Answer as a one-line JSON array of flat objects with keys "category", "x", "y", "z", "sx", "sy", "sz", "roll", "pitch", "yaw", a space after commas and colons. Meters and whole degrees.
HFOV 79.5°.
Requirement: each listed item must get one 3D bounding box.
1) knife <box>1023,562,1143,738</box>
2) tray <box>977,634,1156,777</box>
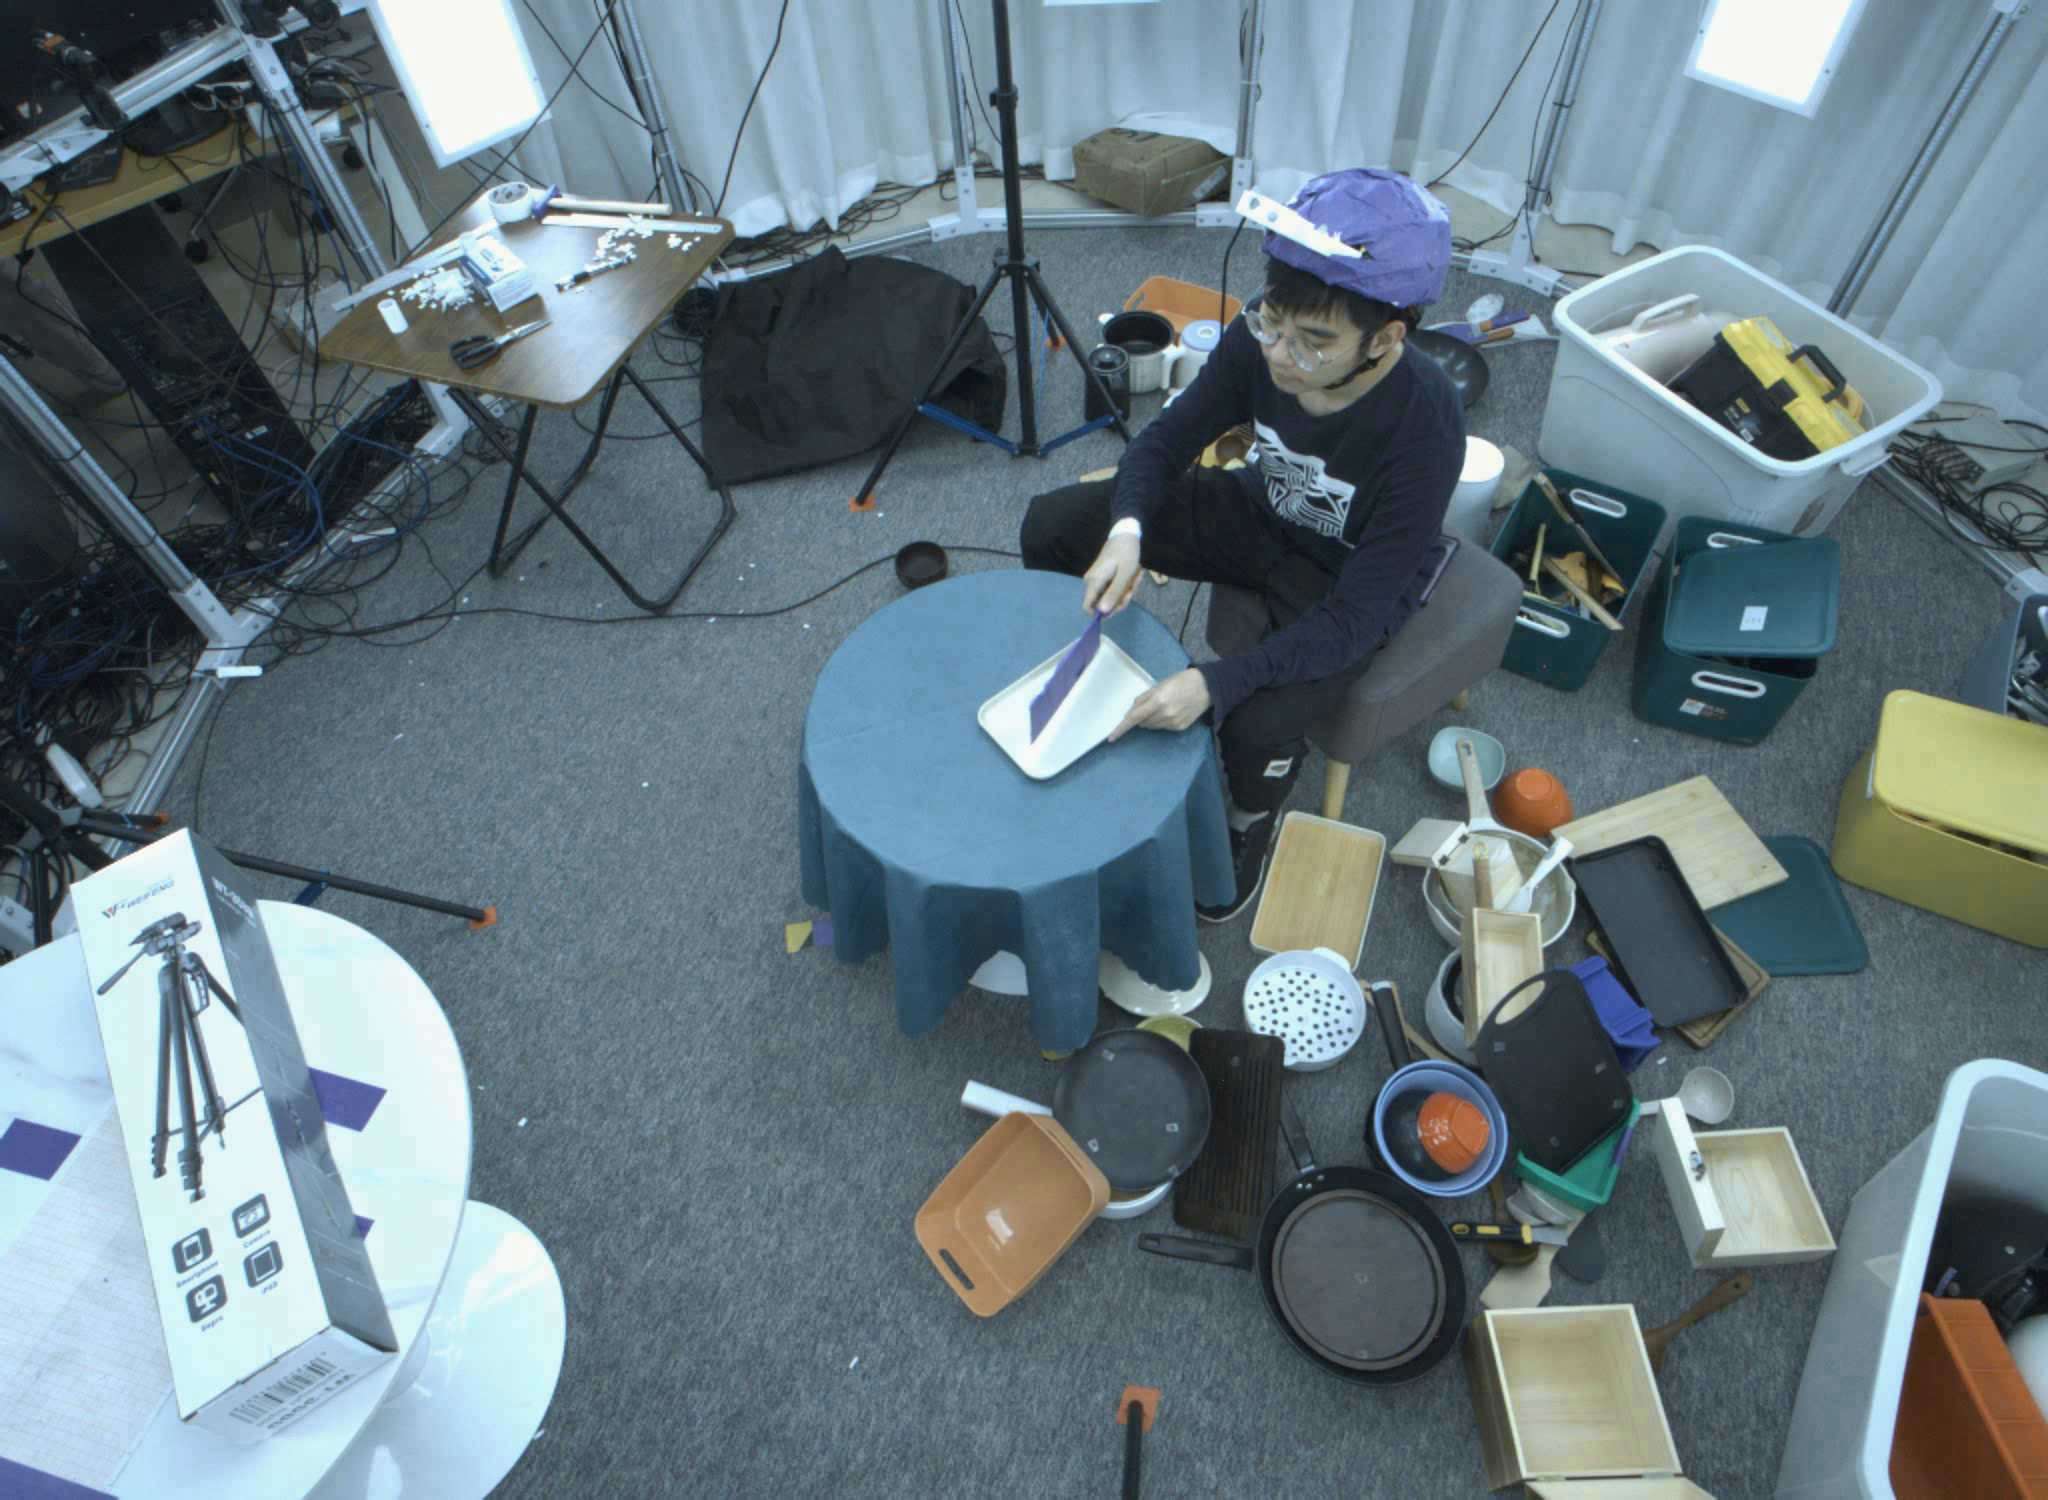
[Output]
[{"category": "knife", "x": 0.082, "y": -0.148, "z": 1.792, "sx": 0.032, "sy": 0.105, "sz": 0.316, "roll": 28, "pitch": 59, "yaw": 17}, {"category": "tray", "x": 0.063, "y": -0.067, "z": 1.816, "sx": 0.241, "sy": 0.018, "sz": 0.168, "roll": -35, "pitch": 58, "yaw": -14}]
